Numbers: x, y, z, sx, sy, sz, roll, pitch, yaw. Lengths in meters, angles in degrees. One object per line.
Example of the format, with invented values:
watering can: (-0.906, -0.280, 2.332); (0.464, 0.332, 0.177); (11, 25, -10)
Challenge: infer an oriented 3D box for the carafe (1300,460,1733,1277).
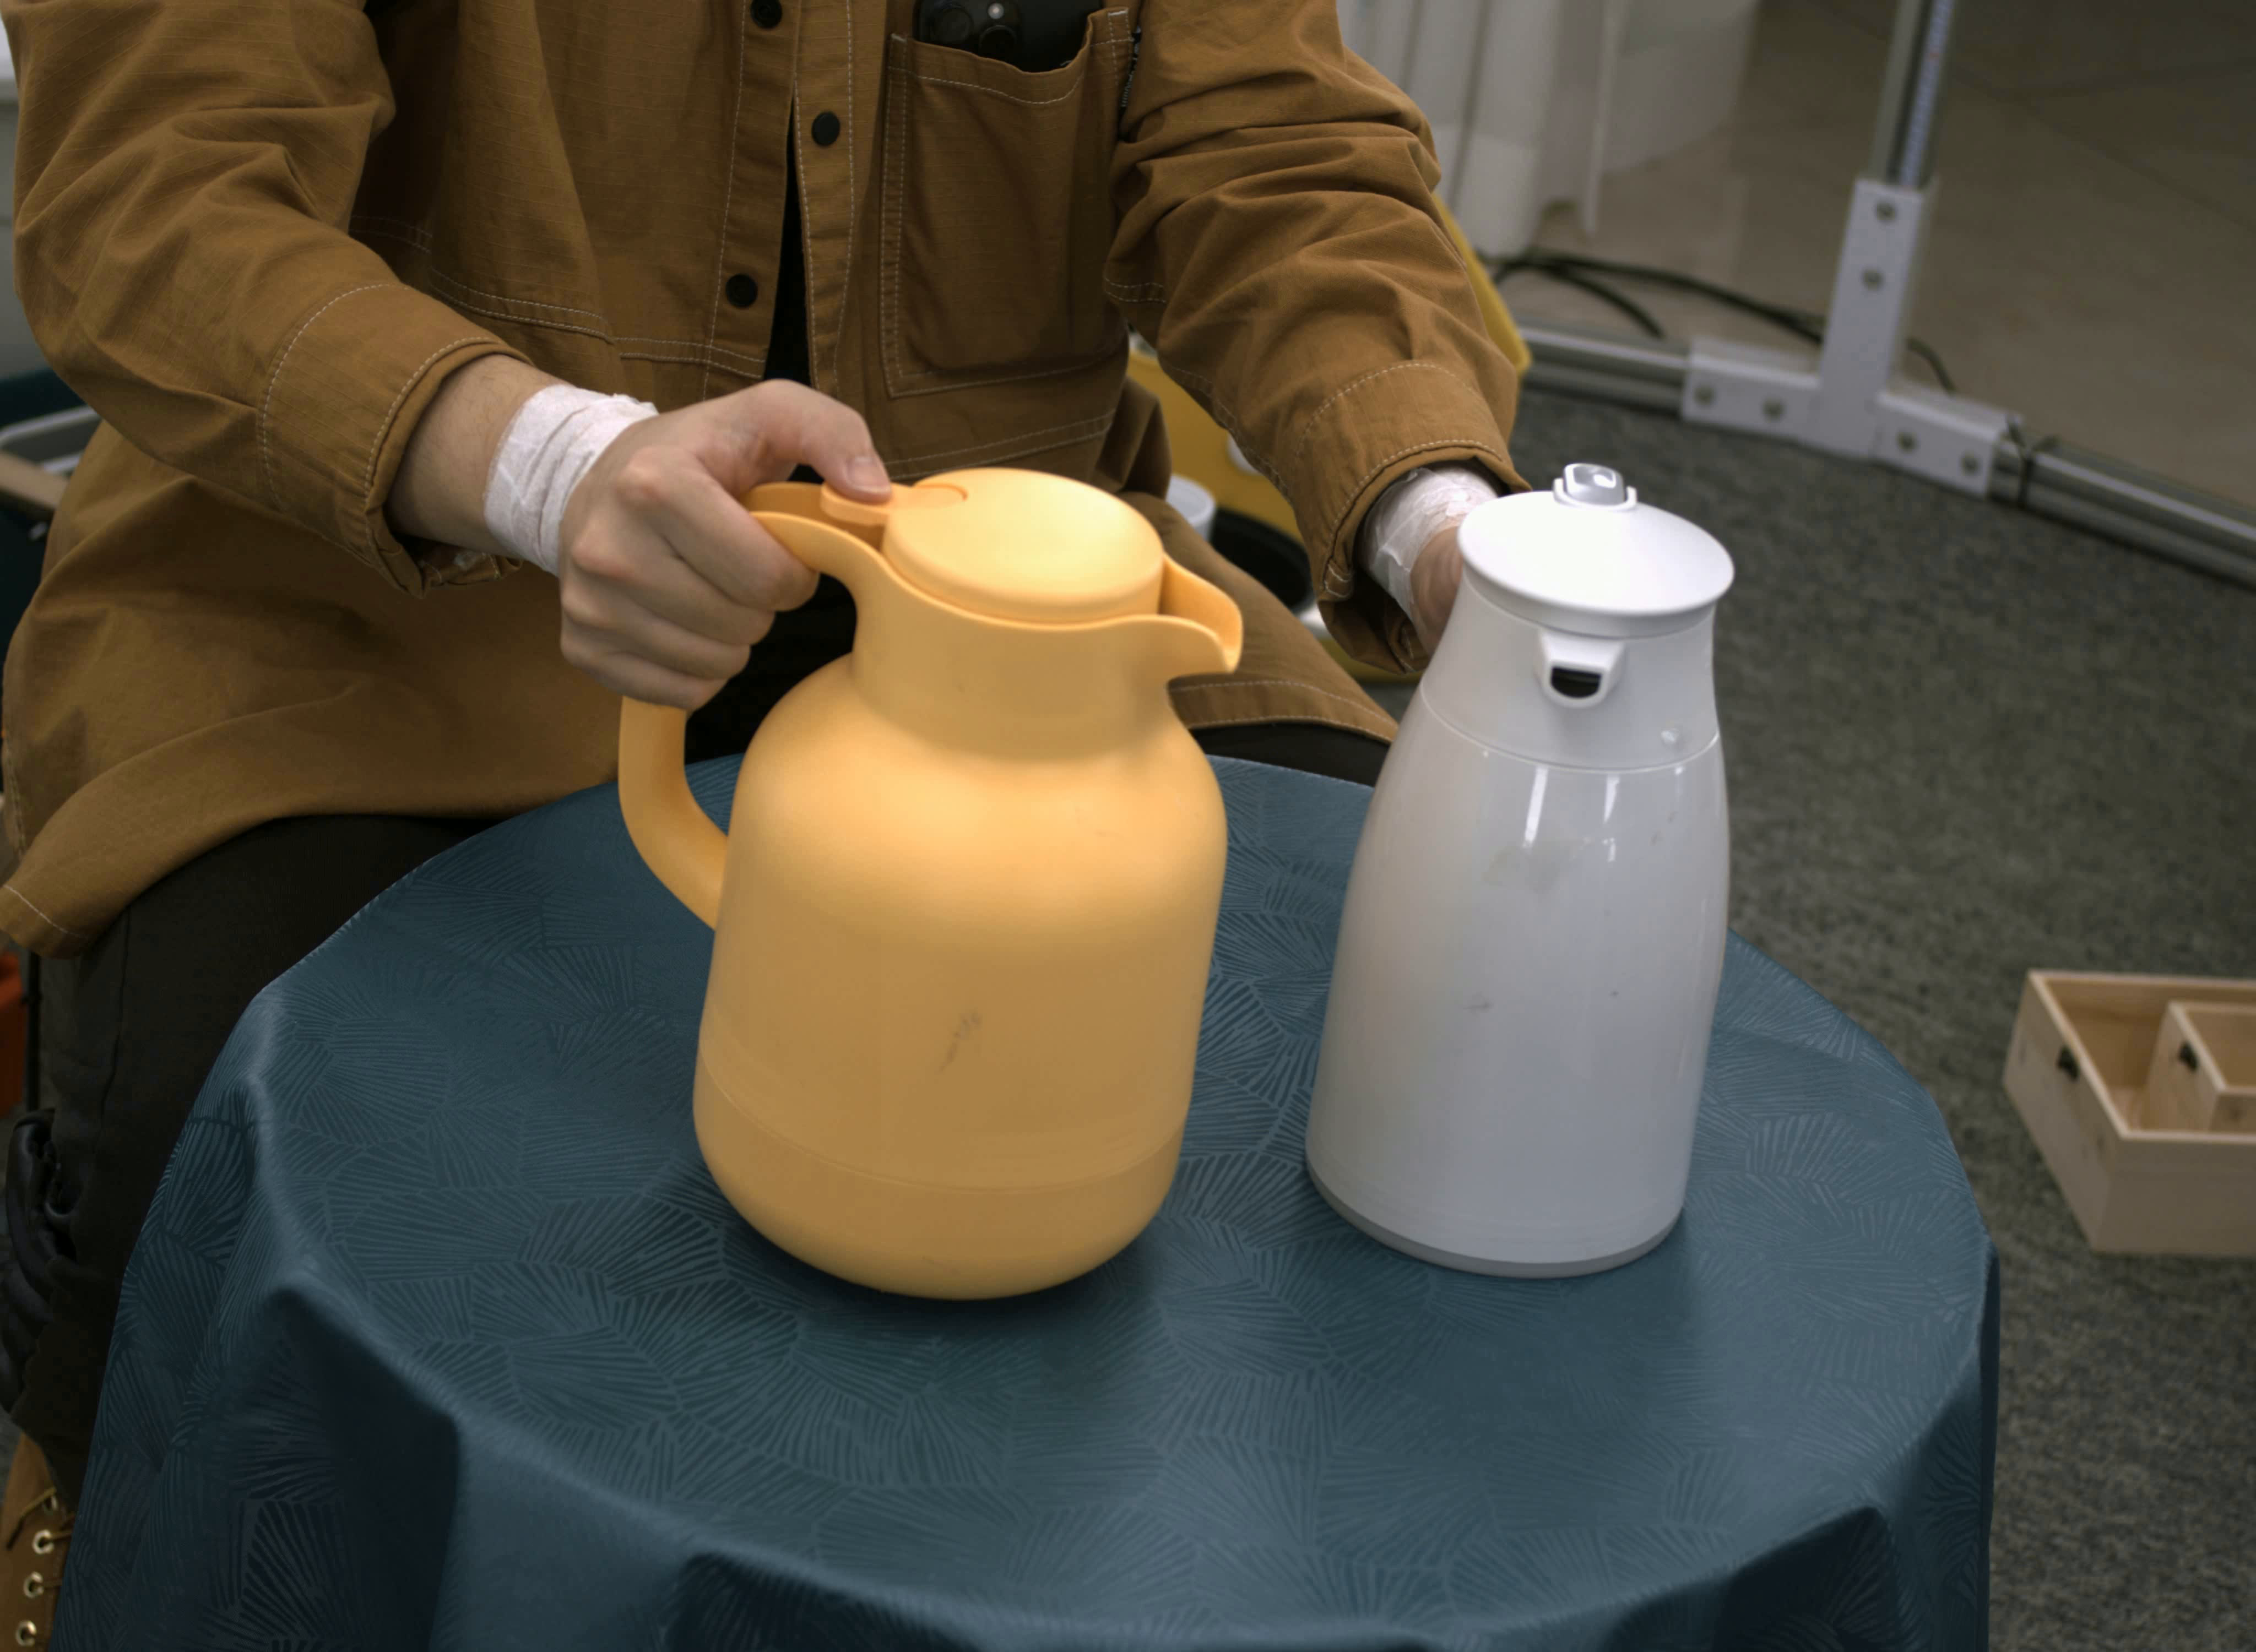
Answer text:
carafe: (0.139, 0.003, 1.800); (0.132, 0.248, 0.168); (9, 26, 3)

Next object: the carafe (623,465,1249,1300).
carafe: (-0.068, 0.007, 1.724); (0.202, 0.260, 0.163); (18, 27, 12)
